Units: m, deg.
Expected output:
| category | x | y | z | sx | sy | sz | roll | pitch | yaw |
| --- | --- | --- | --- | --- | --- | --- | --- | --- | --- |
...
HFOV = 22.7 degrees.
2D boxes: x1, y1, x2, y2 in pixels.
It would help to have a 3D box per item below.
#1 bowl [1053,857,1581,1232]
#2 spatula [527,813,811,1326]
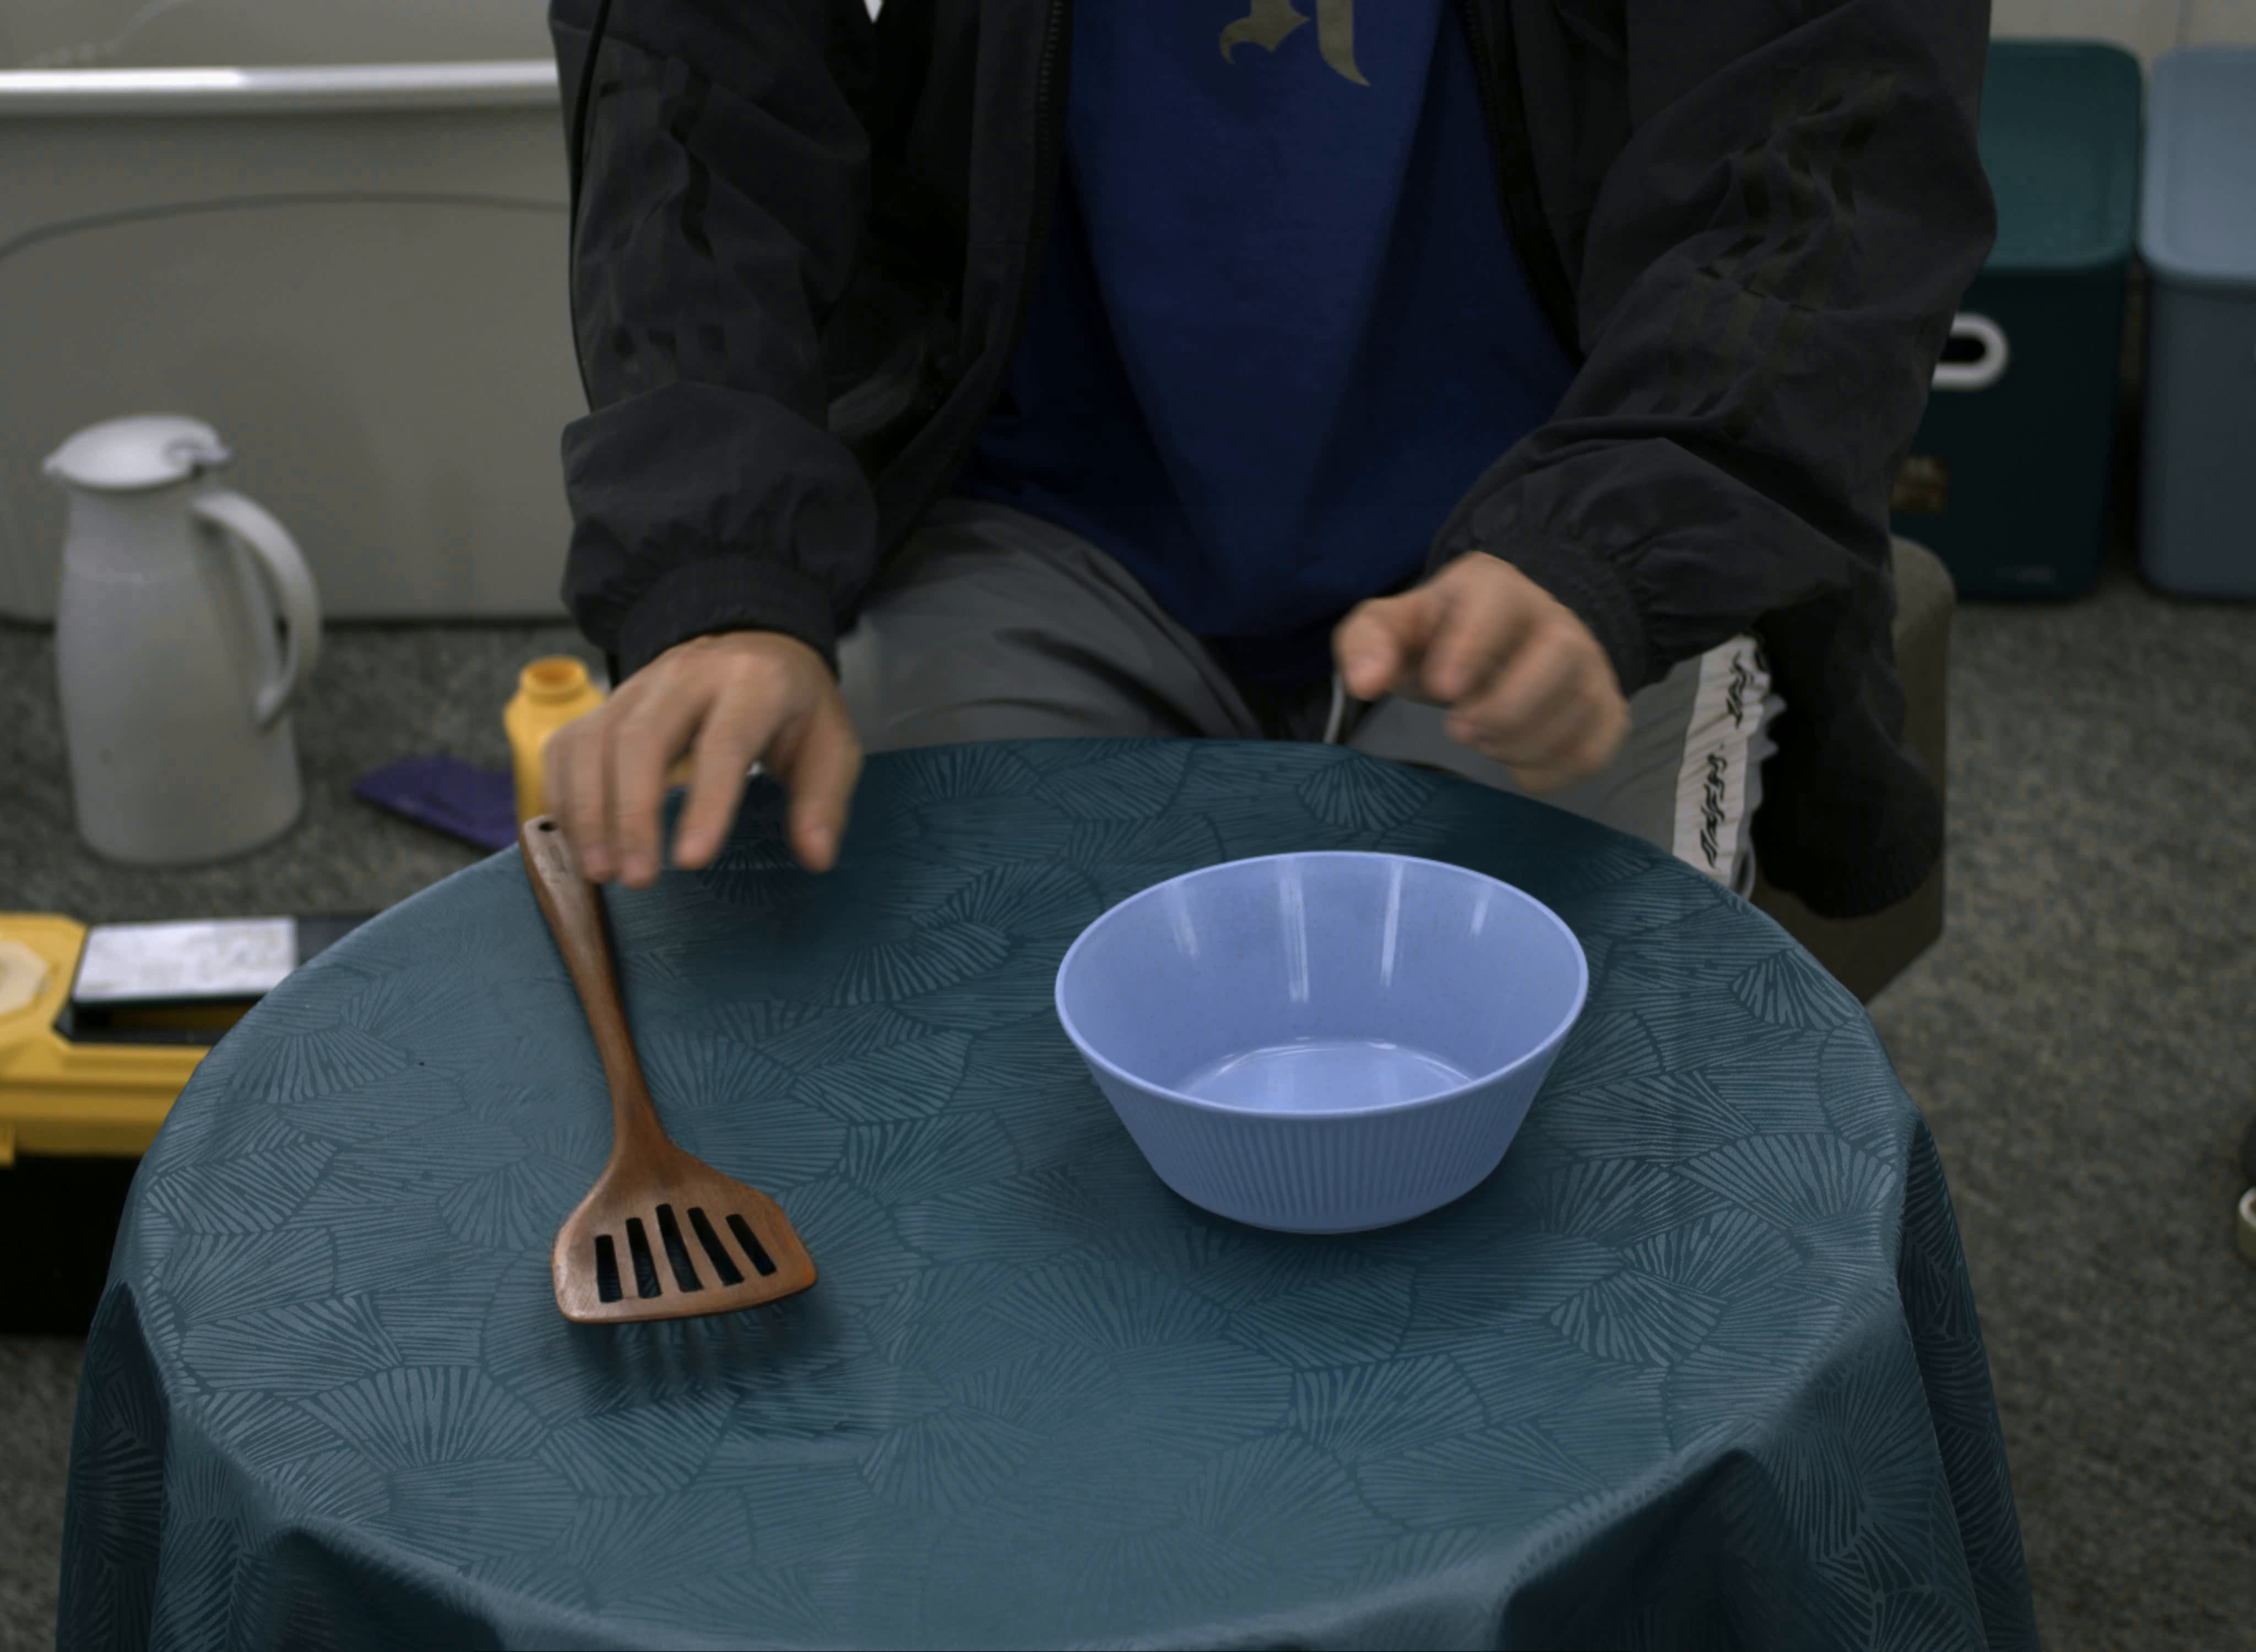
| category | x | y | z | sx | sy | sz | roll | pitch | yaw |
| --- | --- | --- | --- | --- | --- | --- | --- | --- | --- |
| bowl | 0.063 | 0.078 | 1.863 | 0.175 | 0.069 | 0.178 | -2 | 26 | 1 |
| spatula | -0.176 | 0.081 | 1.935 | 0.085 | 0.024 | 0.391 | -8 | 26 | -9 |
